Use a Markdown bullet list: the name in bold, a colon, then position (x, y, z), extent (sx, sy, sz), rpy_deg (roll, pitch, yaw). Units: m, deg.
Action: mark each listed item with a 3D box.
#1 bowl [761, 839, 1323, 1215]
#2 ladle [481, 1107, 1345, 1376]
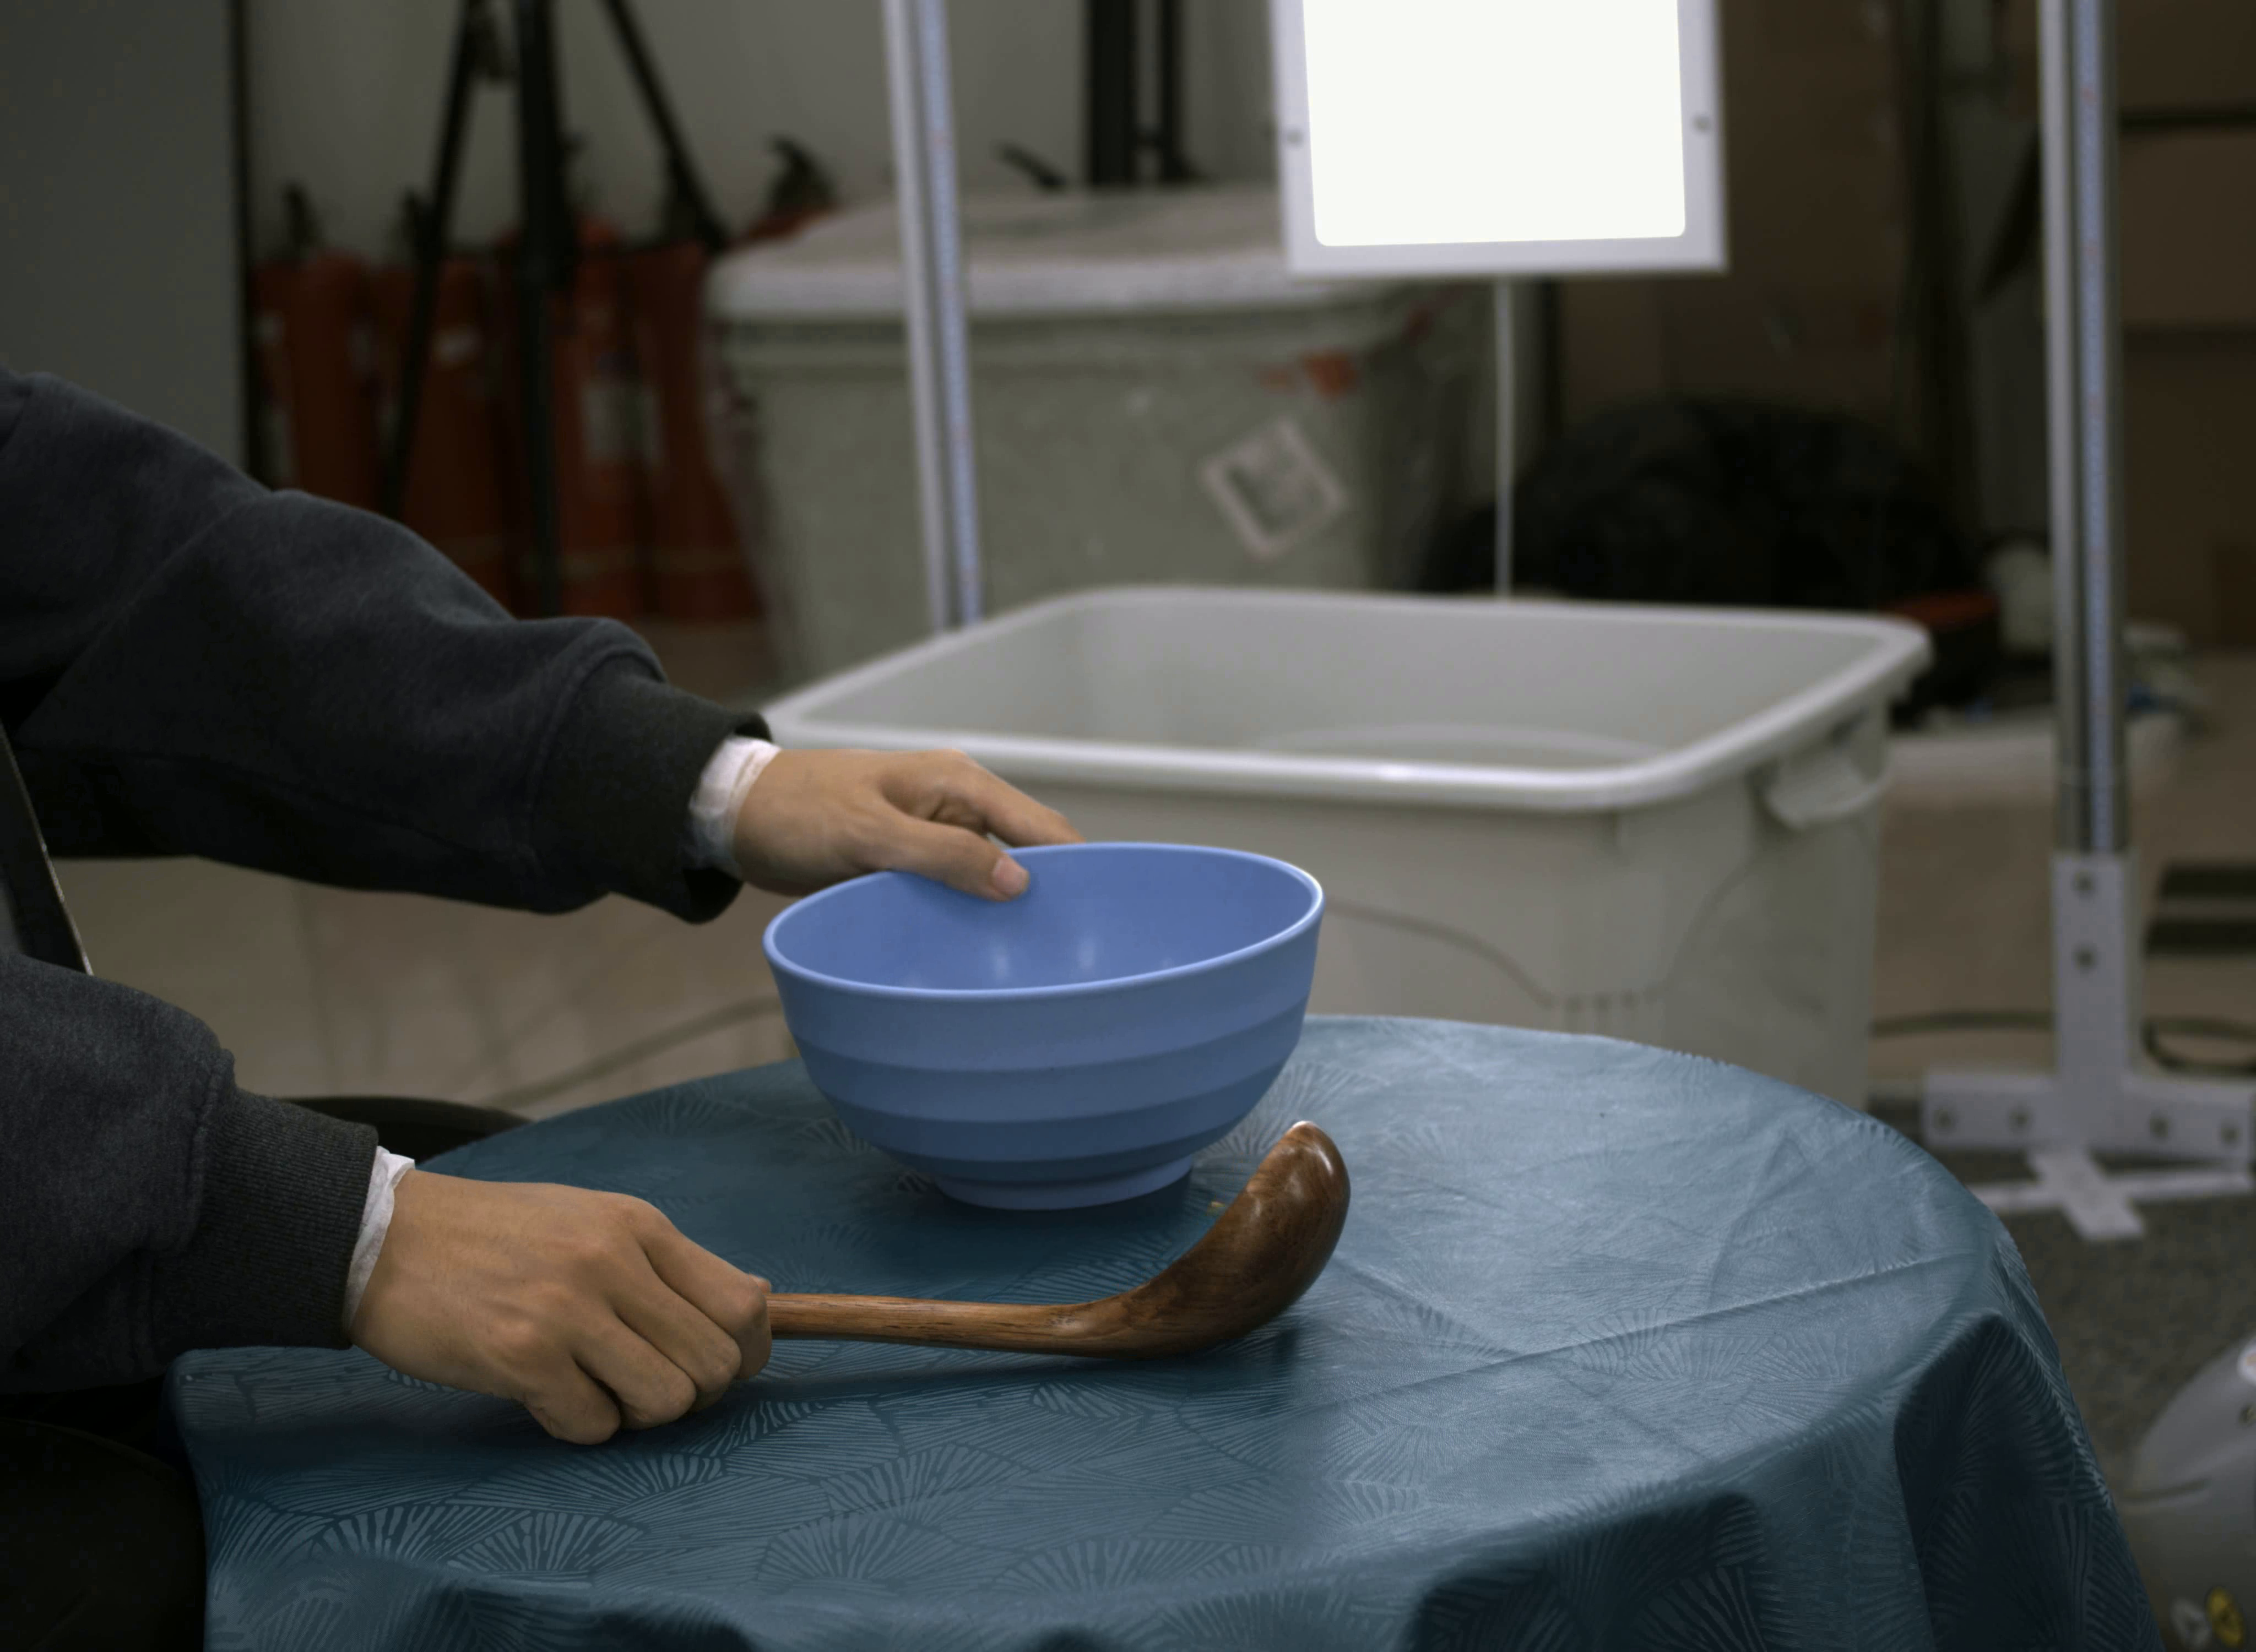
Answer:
- **bowl**: position (-0.025, 0.076, 1.917), extent (0.196, 0.096, 0.196), rpy_deg (-6, 14, 0)
- **ladle**: position (-0.068, 0.130, 1.737), extent (0.274, 0.076, 0.082), rpy_deg (-2, -22, 6)
